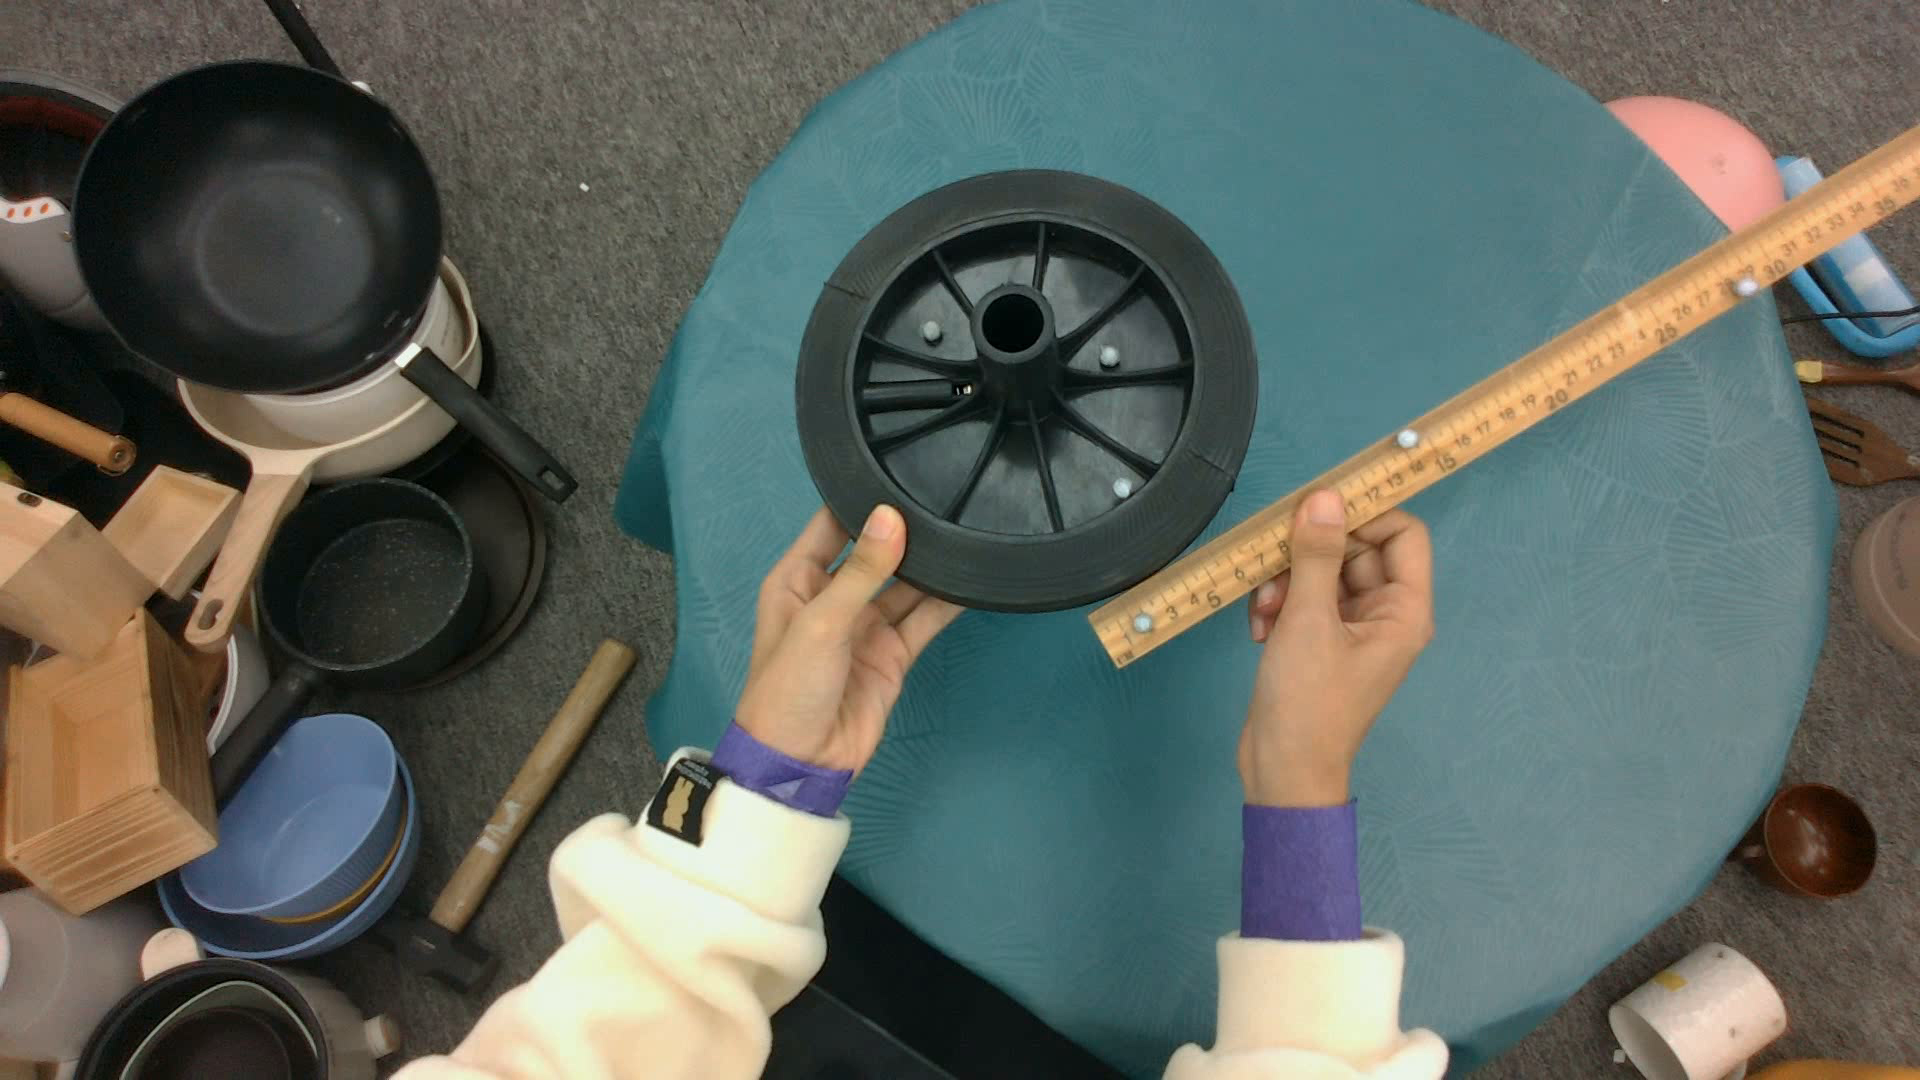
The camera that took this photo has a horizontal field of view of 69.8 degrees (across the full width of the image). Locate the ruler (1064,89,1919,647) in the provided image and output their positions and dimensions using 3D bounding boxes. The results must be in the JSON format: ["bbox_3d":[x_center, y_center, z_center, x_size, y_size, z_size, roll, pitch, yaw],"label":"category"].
[{"bbox_3d":[0.262,-0.094,0.547,0.500,0.006,0.027,-30,92,-2],"label":"ruler"}]

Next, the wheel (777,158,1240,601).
[{"bbox_3d":[0.017,-0.073,0.544,0.190,0.079,0.187,-26,74,-2],"label":"wheel"}]
